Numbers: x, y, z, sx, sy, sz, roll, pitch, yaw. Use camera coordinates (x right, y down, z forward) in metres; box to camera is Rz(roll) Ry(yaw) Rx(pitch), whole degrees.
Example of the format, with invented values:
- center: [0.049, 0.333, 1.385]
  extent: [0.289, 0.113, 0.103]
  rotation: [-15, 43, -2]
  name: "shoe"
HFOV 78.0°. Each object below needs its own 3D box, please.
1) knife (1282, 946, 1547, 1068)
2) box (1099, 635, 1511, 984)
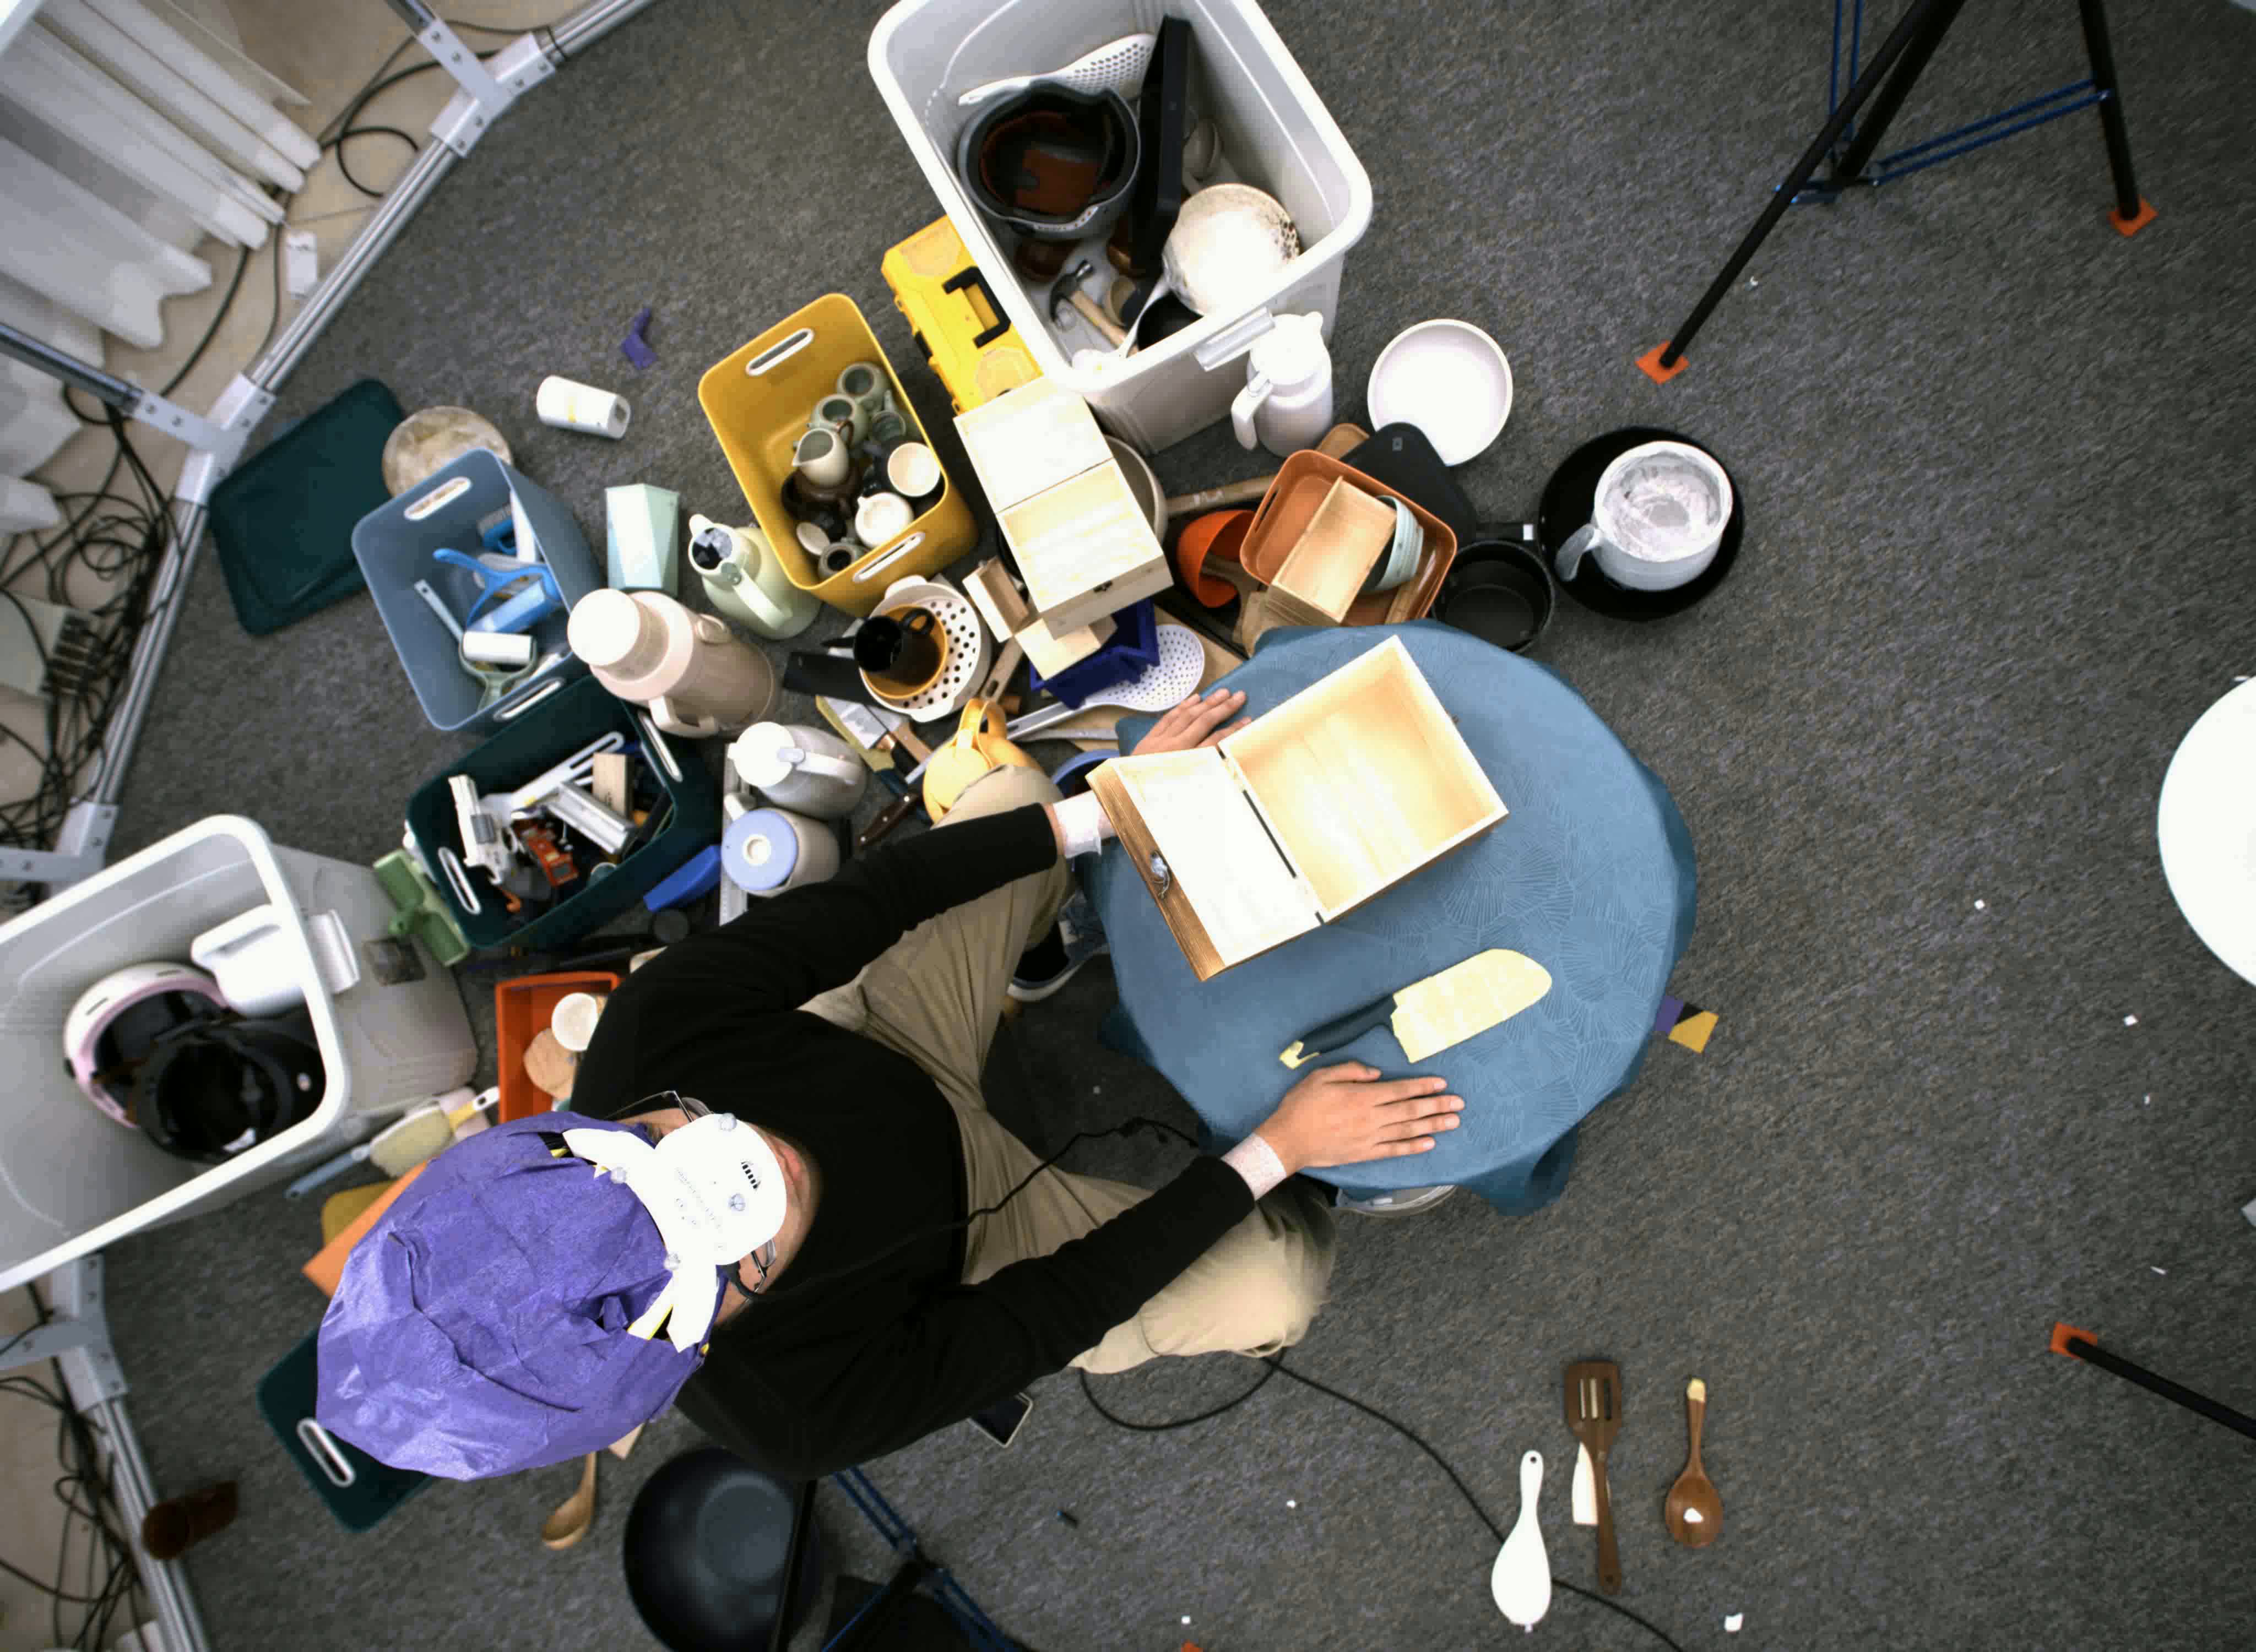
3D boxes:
- center: [0.300, 0.198, 1.441]
  extent: [0.291, 0.027, 0.080]
  rotation: [-23, 81, 8]
  name: "knife"
- center: [0.176, -0.020, 1.300]
  extent: [0.324, 0.375, 0.207]
  rotation: [-32, 81, 7]
  name: "box"
